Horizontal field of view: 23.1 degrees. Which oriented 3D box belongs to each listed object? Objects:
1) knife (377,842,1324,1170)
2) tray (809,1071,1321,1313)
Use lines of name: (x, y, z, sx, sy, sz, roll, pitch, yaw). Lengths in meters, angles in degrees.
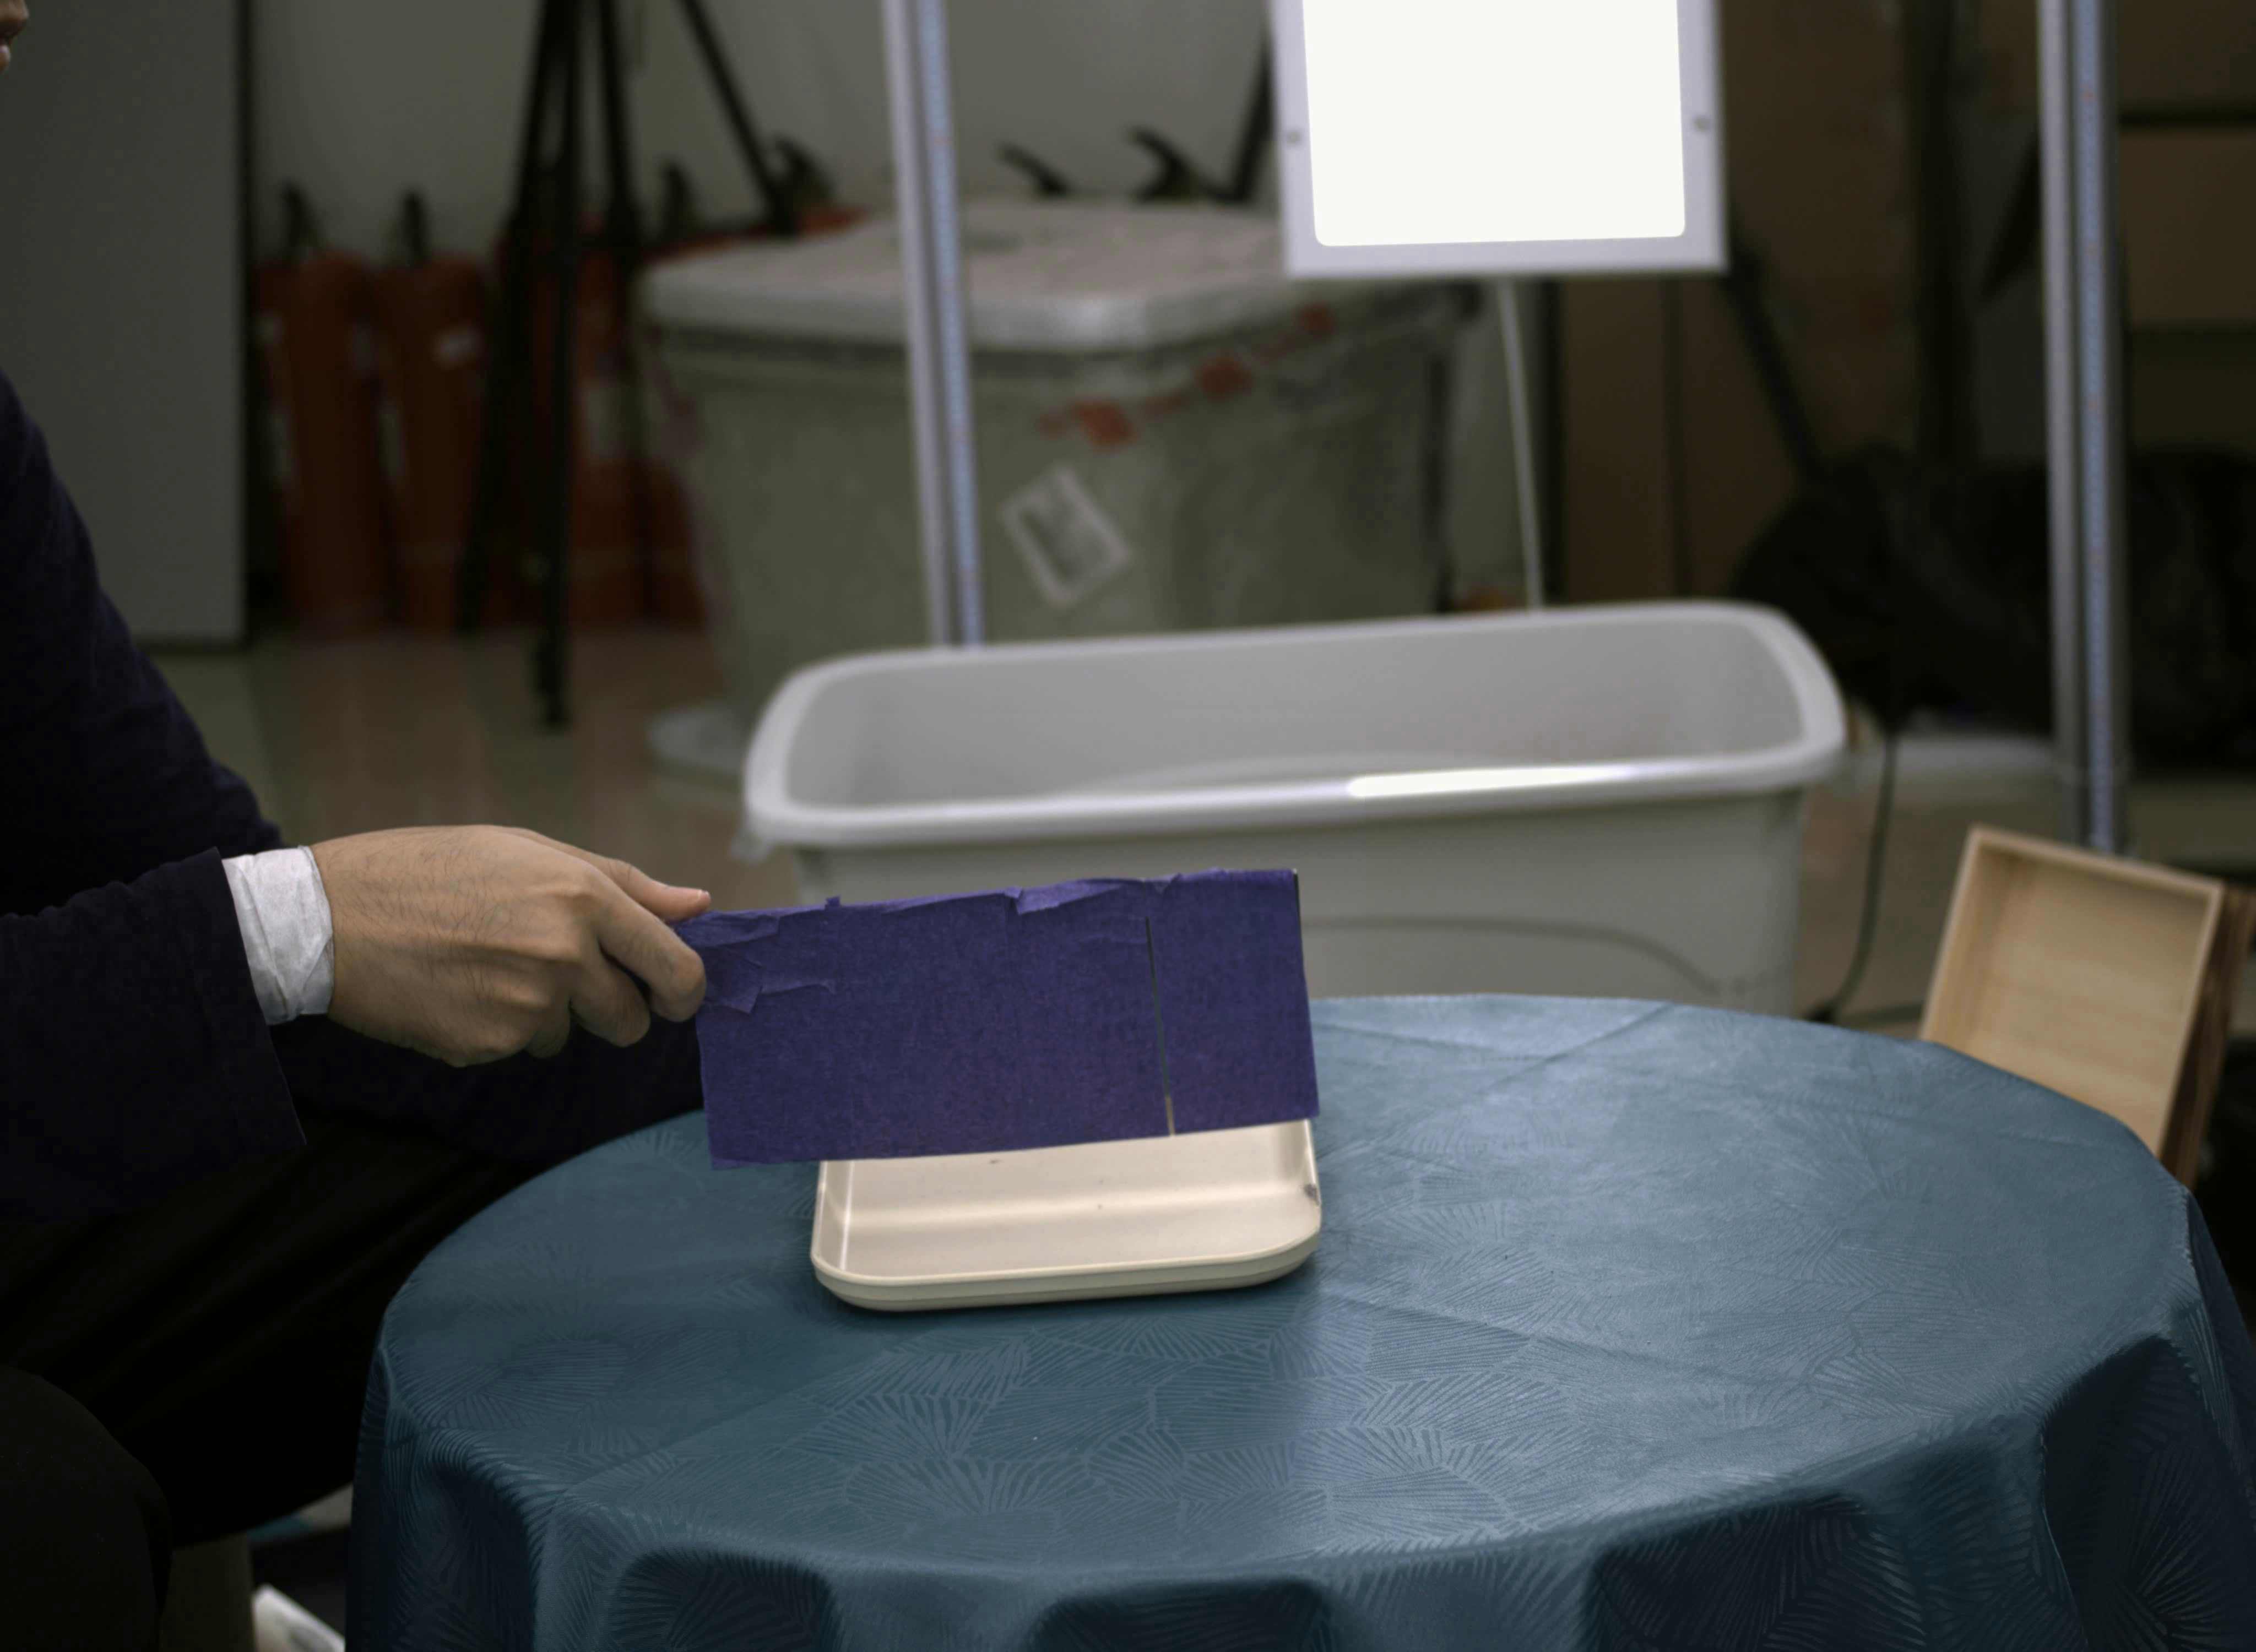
knife: (-0.092, 0.068, 1.849, 0.315, 0.104, 0.032, -4, 13, 4)
tray: (-0.022, 0.115, 1.894, 0.171, 0.017, 0.239, -5, 17, 2)
